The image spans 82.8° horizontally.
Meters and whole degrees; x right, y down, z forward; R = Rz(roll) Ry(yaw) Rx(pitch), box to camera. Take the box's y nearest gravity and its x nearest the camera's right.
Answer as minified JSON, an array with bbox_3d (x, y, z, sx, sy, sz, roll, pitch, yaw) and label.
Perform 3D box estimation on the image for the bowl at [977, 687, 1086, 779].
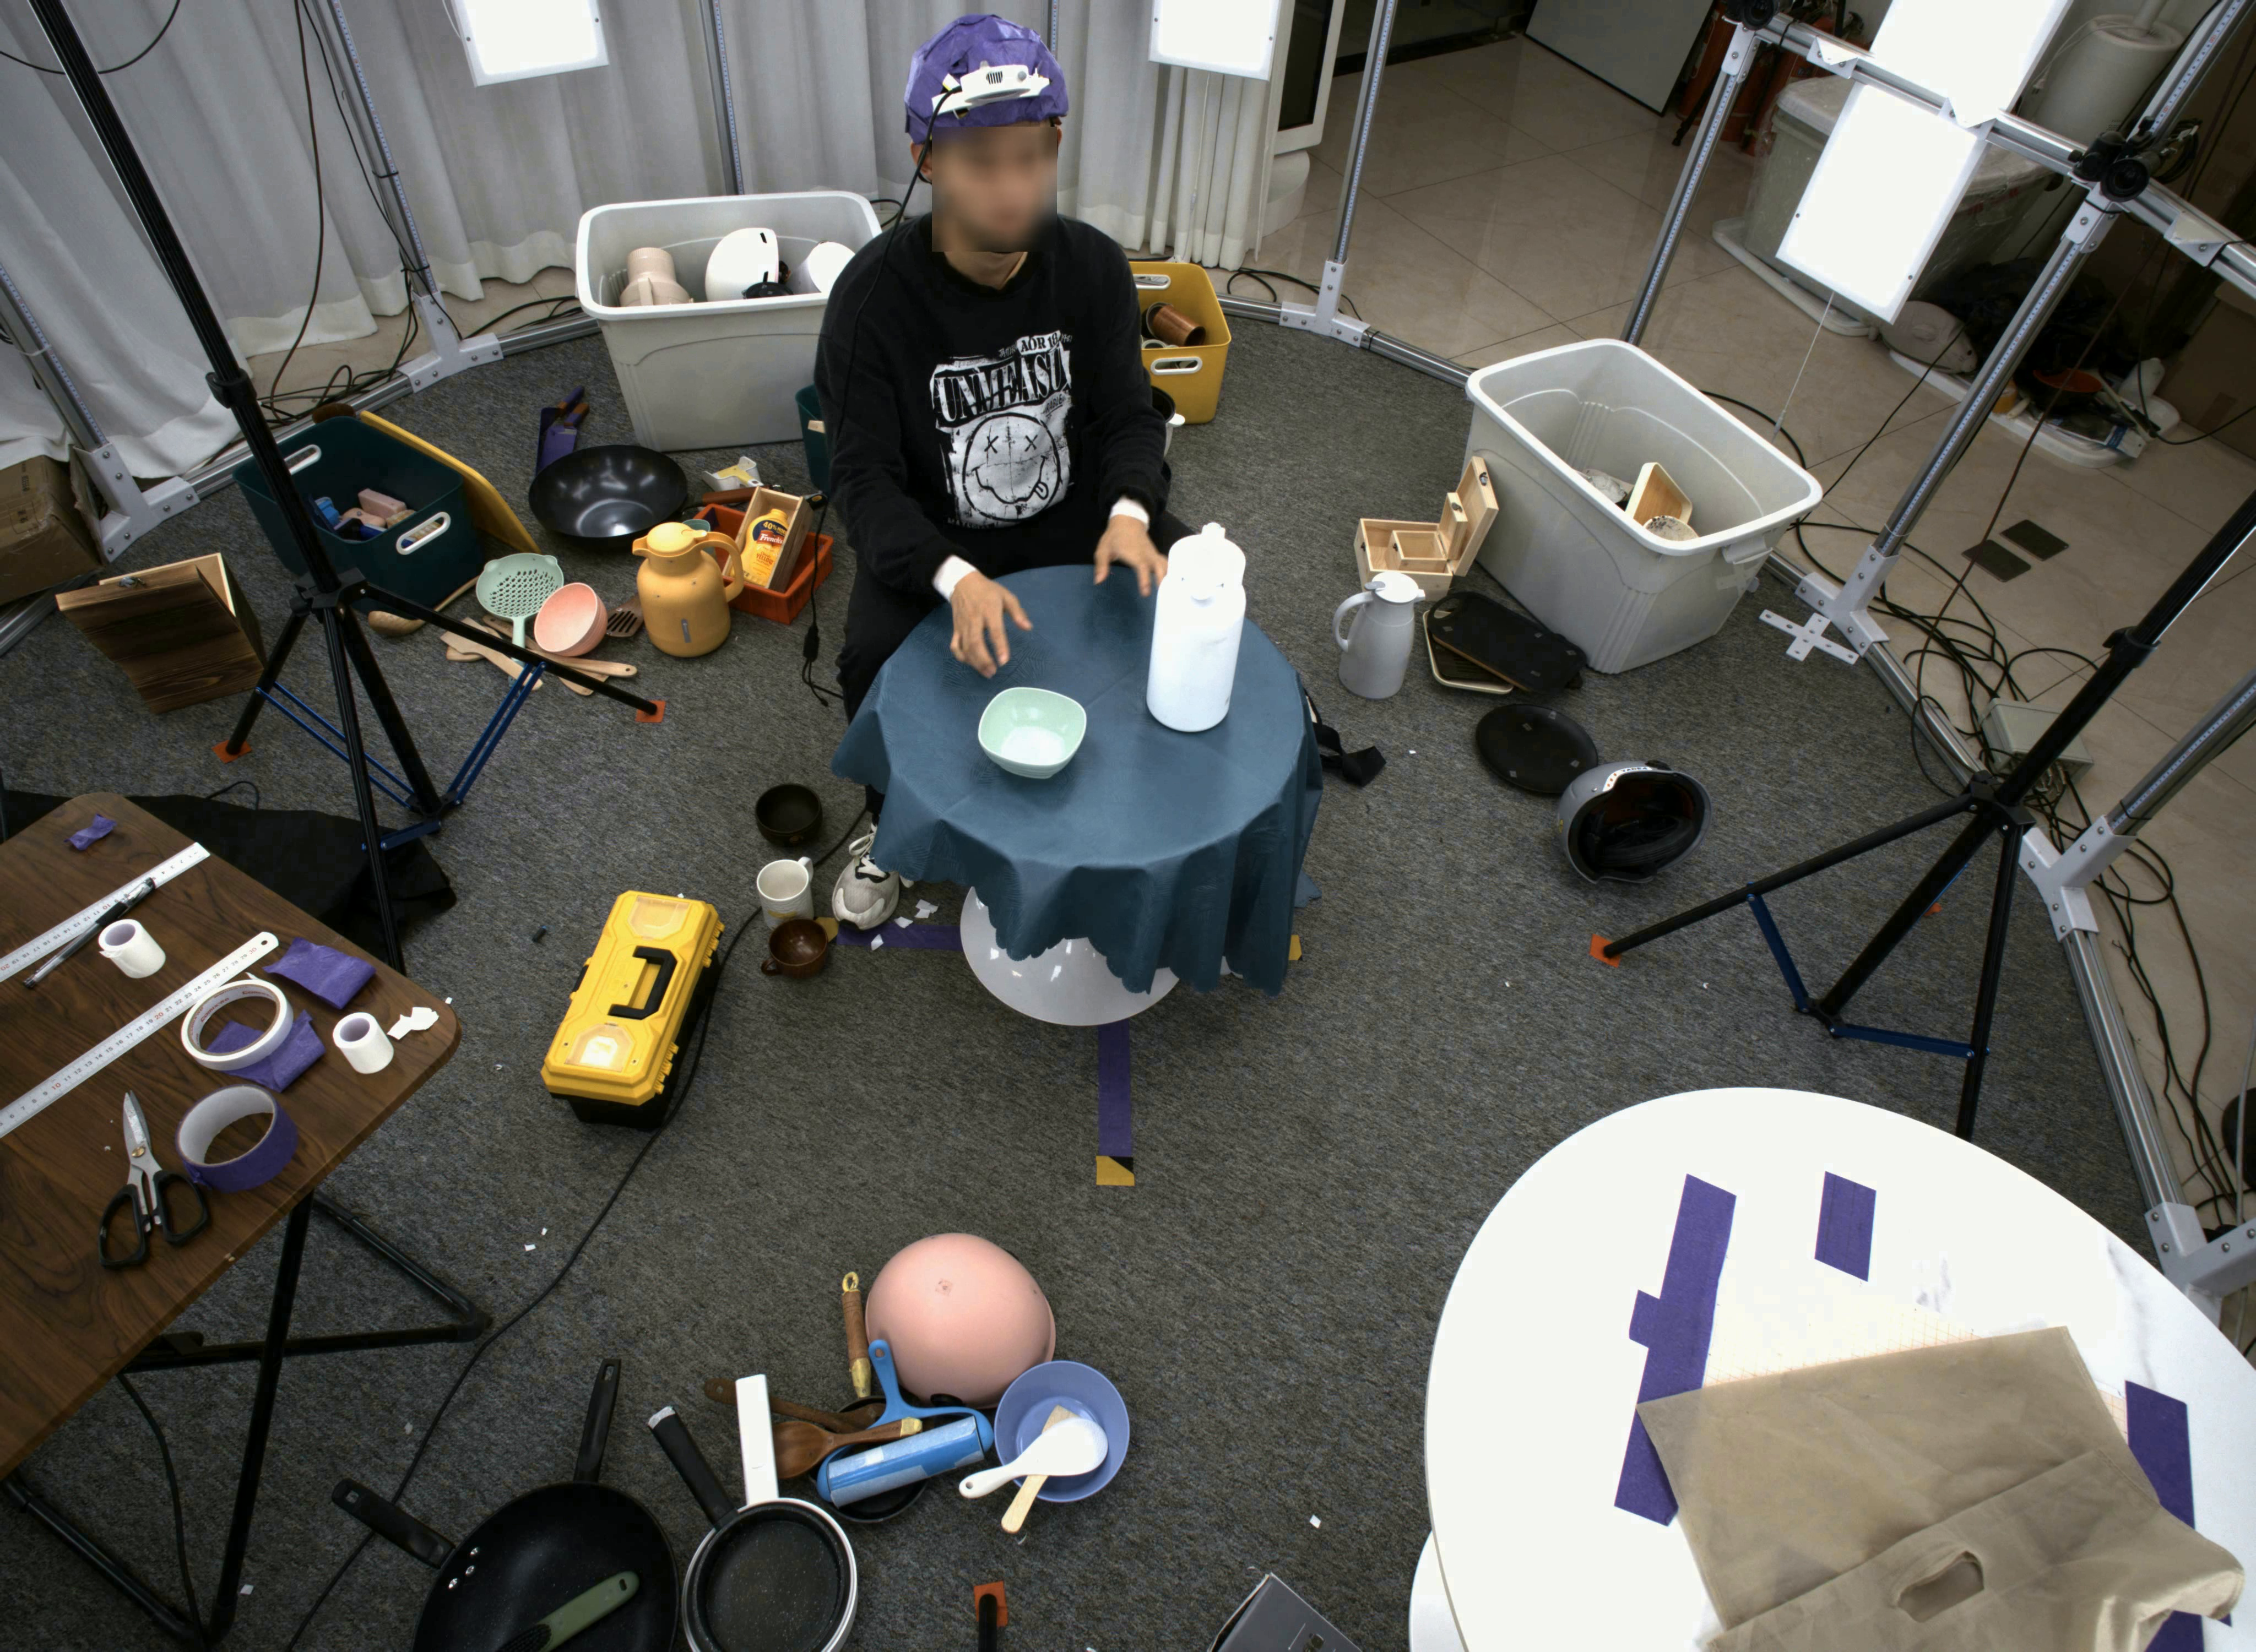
[{"bbox_3d":[-0.129,-0.116,1.727,0.151,0.057,0.155,2,50,-2],"label":"bowl"}]

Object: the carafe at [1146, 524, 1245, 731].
[{"bbox_3d":[0.093,-0.270,1.737,0.124,0.262,0.177,7,49,4],"label":"carafe"}]
